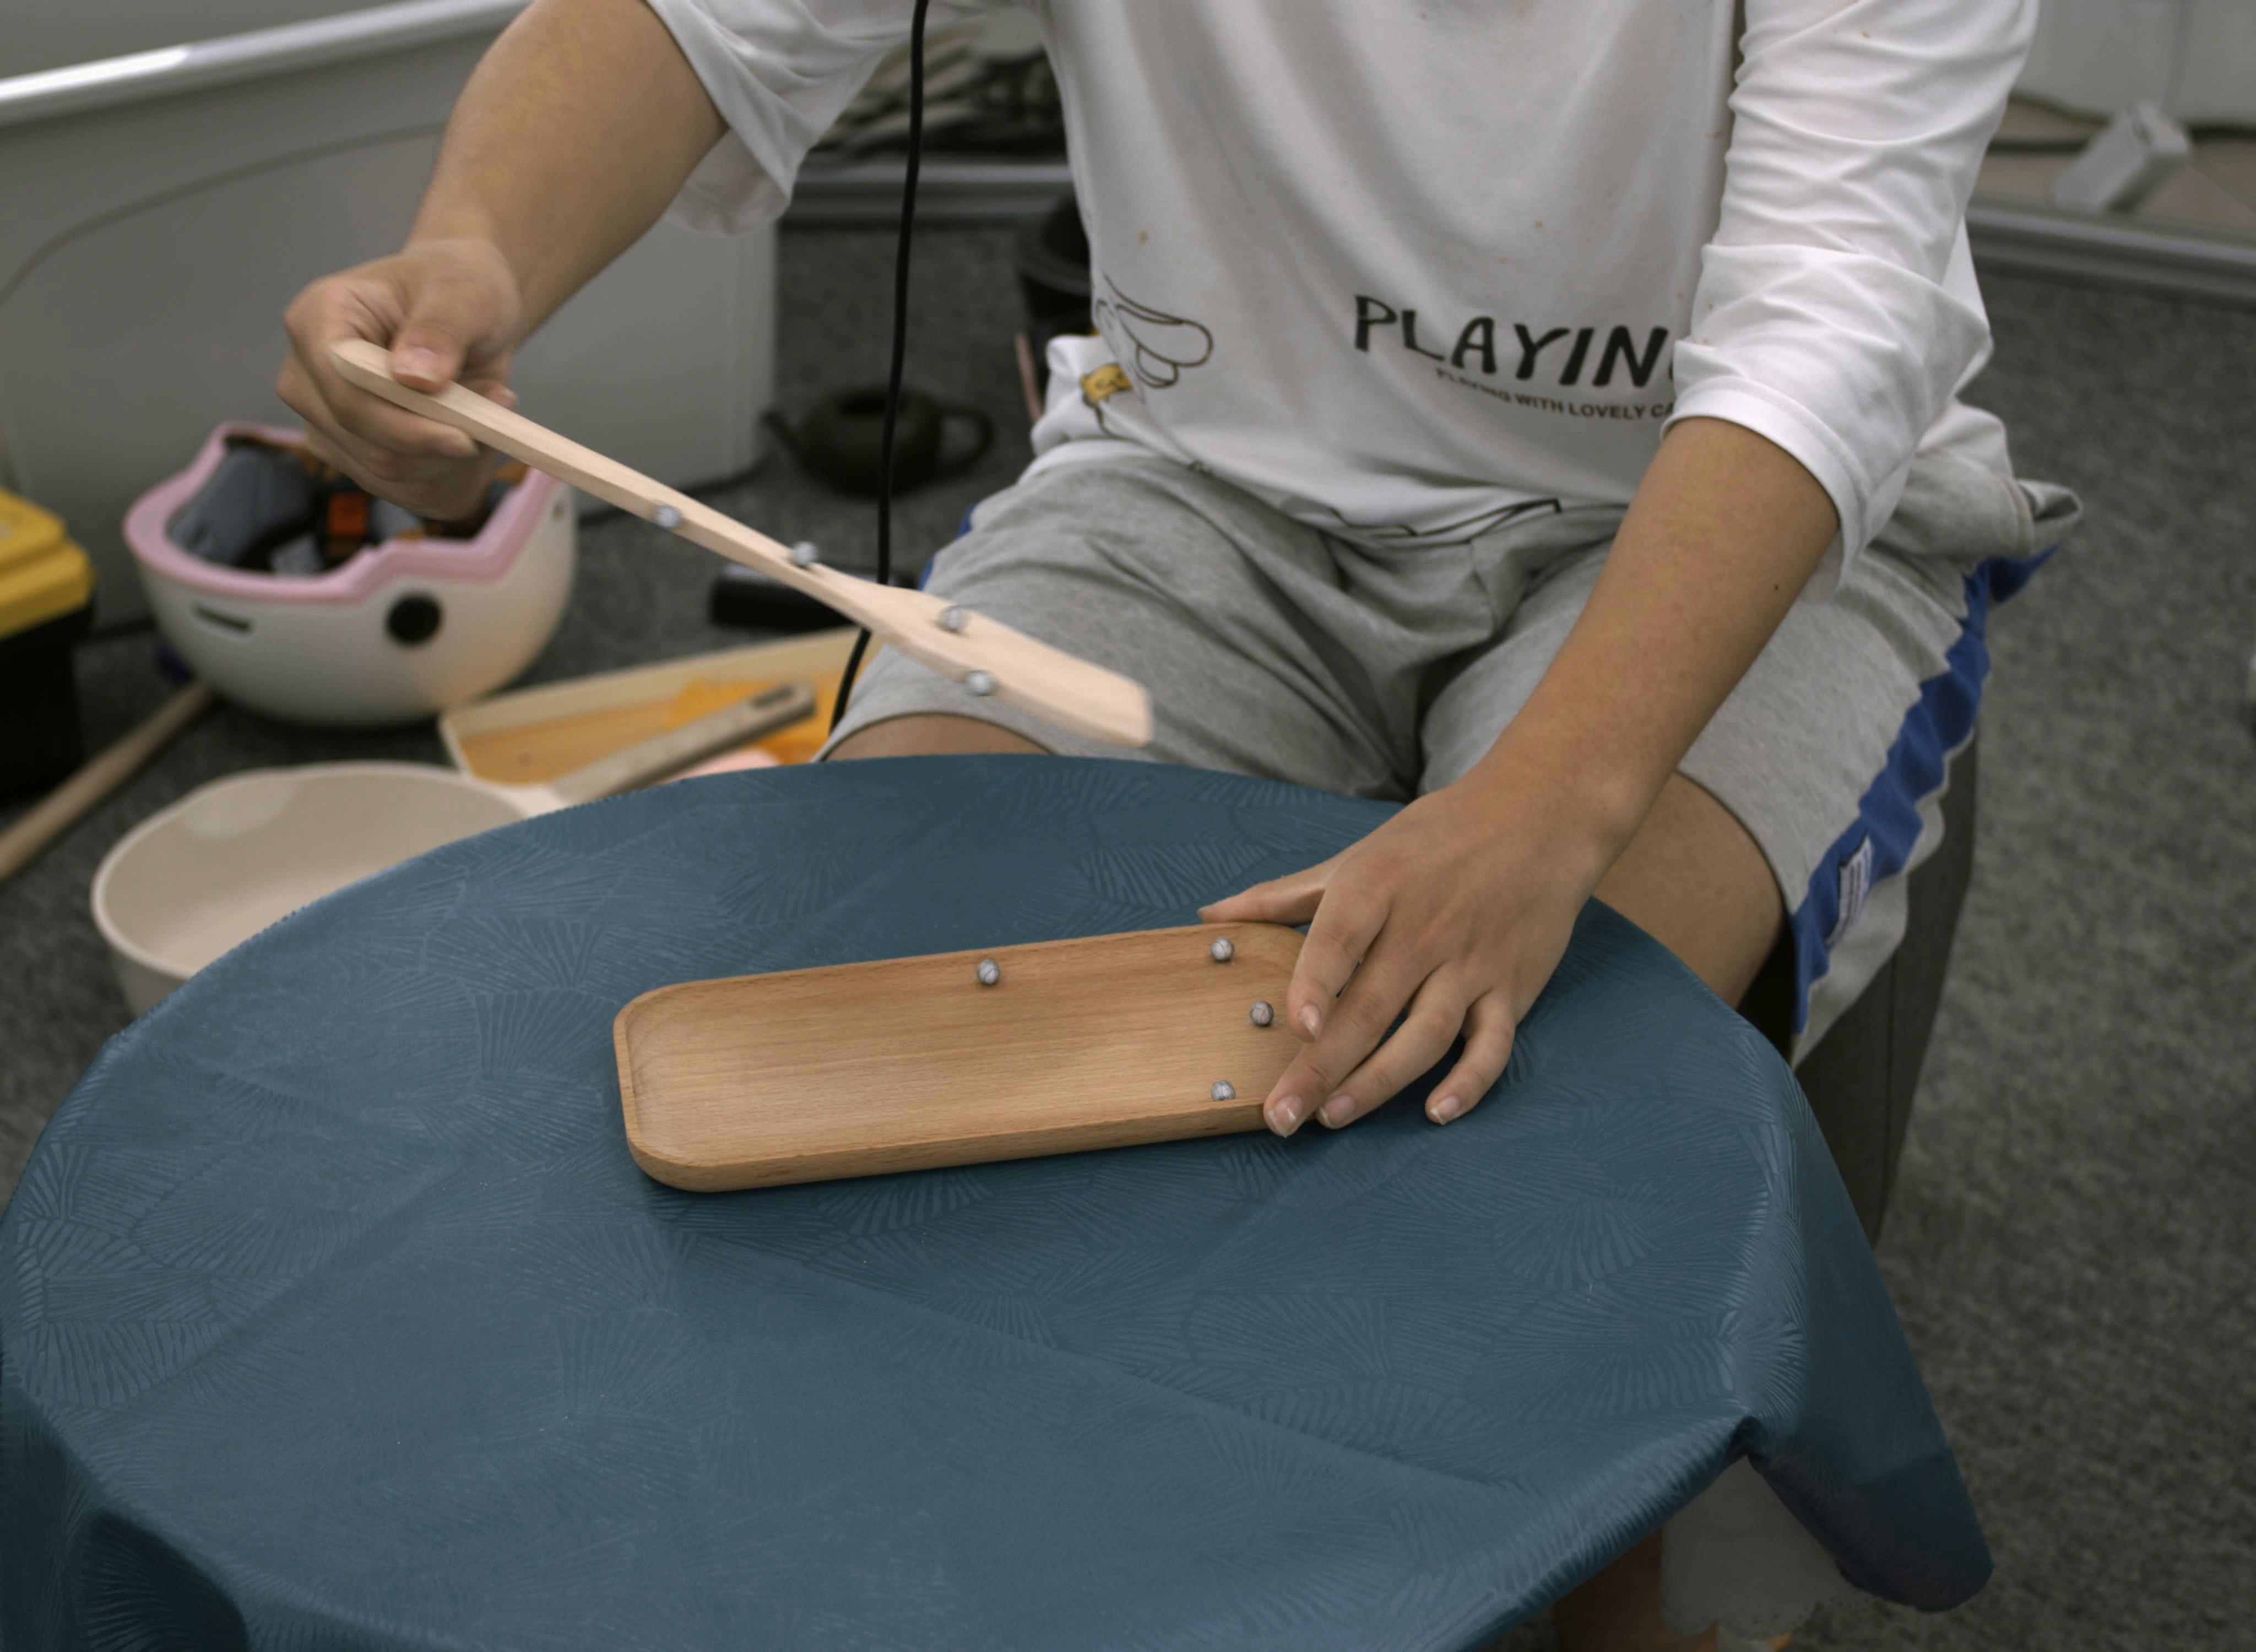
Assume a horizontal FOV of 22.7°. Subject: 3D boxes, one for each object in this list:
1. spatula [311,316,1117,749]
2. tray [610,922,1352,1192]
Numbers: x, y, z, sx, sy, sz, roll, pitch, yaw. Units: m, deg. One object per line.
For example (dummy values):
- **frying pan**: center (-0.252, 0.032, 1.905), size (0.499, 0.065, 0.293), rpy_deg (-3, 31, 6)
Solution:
- **spatula**: center (-0.134, -0.096, 1.841), size (0.292, 0.010, 0.073), rpy_deg (26, 16, -9)
- **tray**: center (-0.052, 0.080, 1.934), size (0.250, 0.022, 0.132), rpy_deg (-6, 25, -6)
